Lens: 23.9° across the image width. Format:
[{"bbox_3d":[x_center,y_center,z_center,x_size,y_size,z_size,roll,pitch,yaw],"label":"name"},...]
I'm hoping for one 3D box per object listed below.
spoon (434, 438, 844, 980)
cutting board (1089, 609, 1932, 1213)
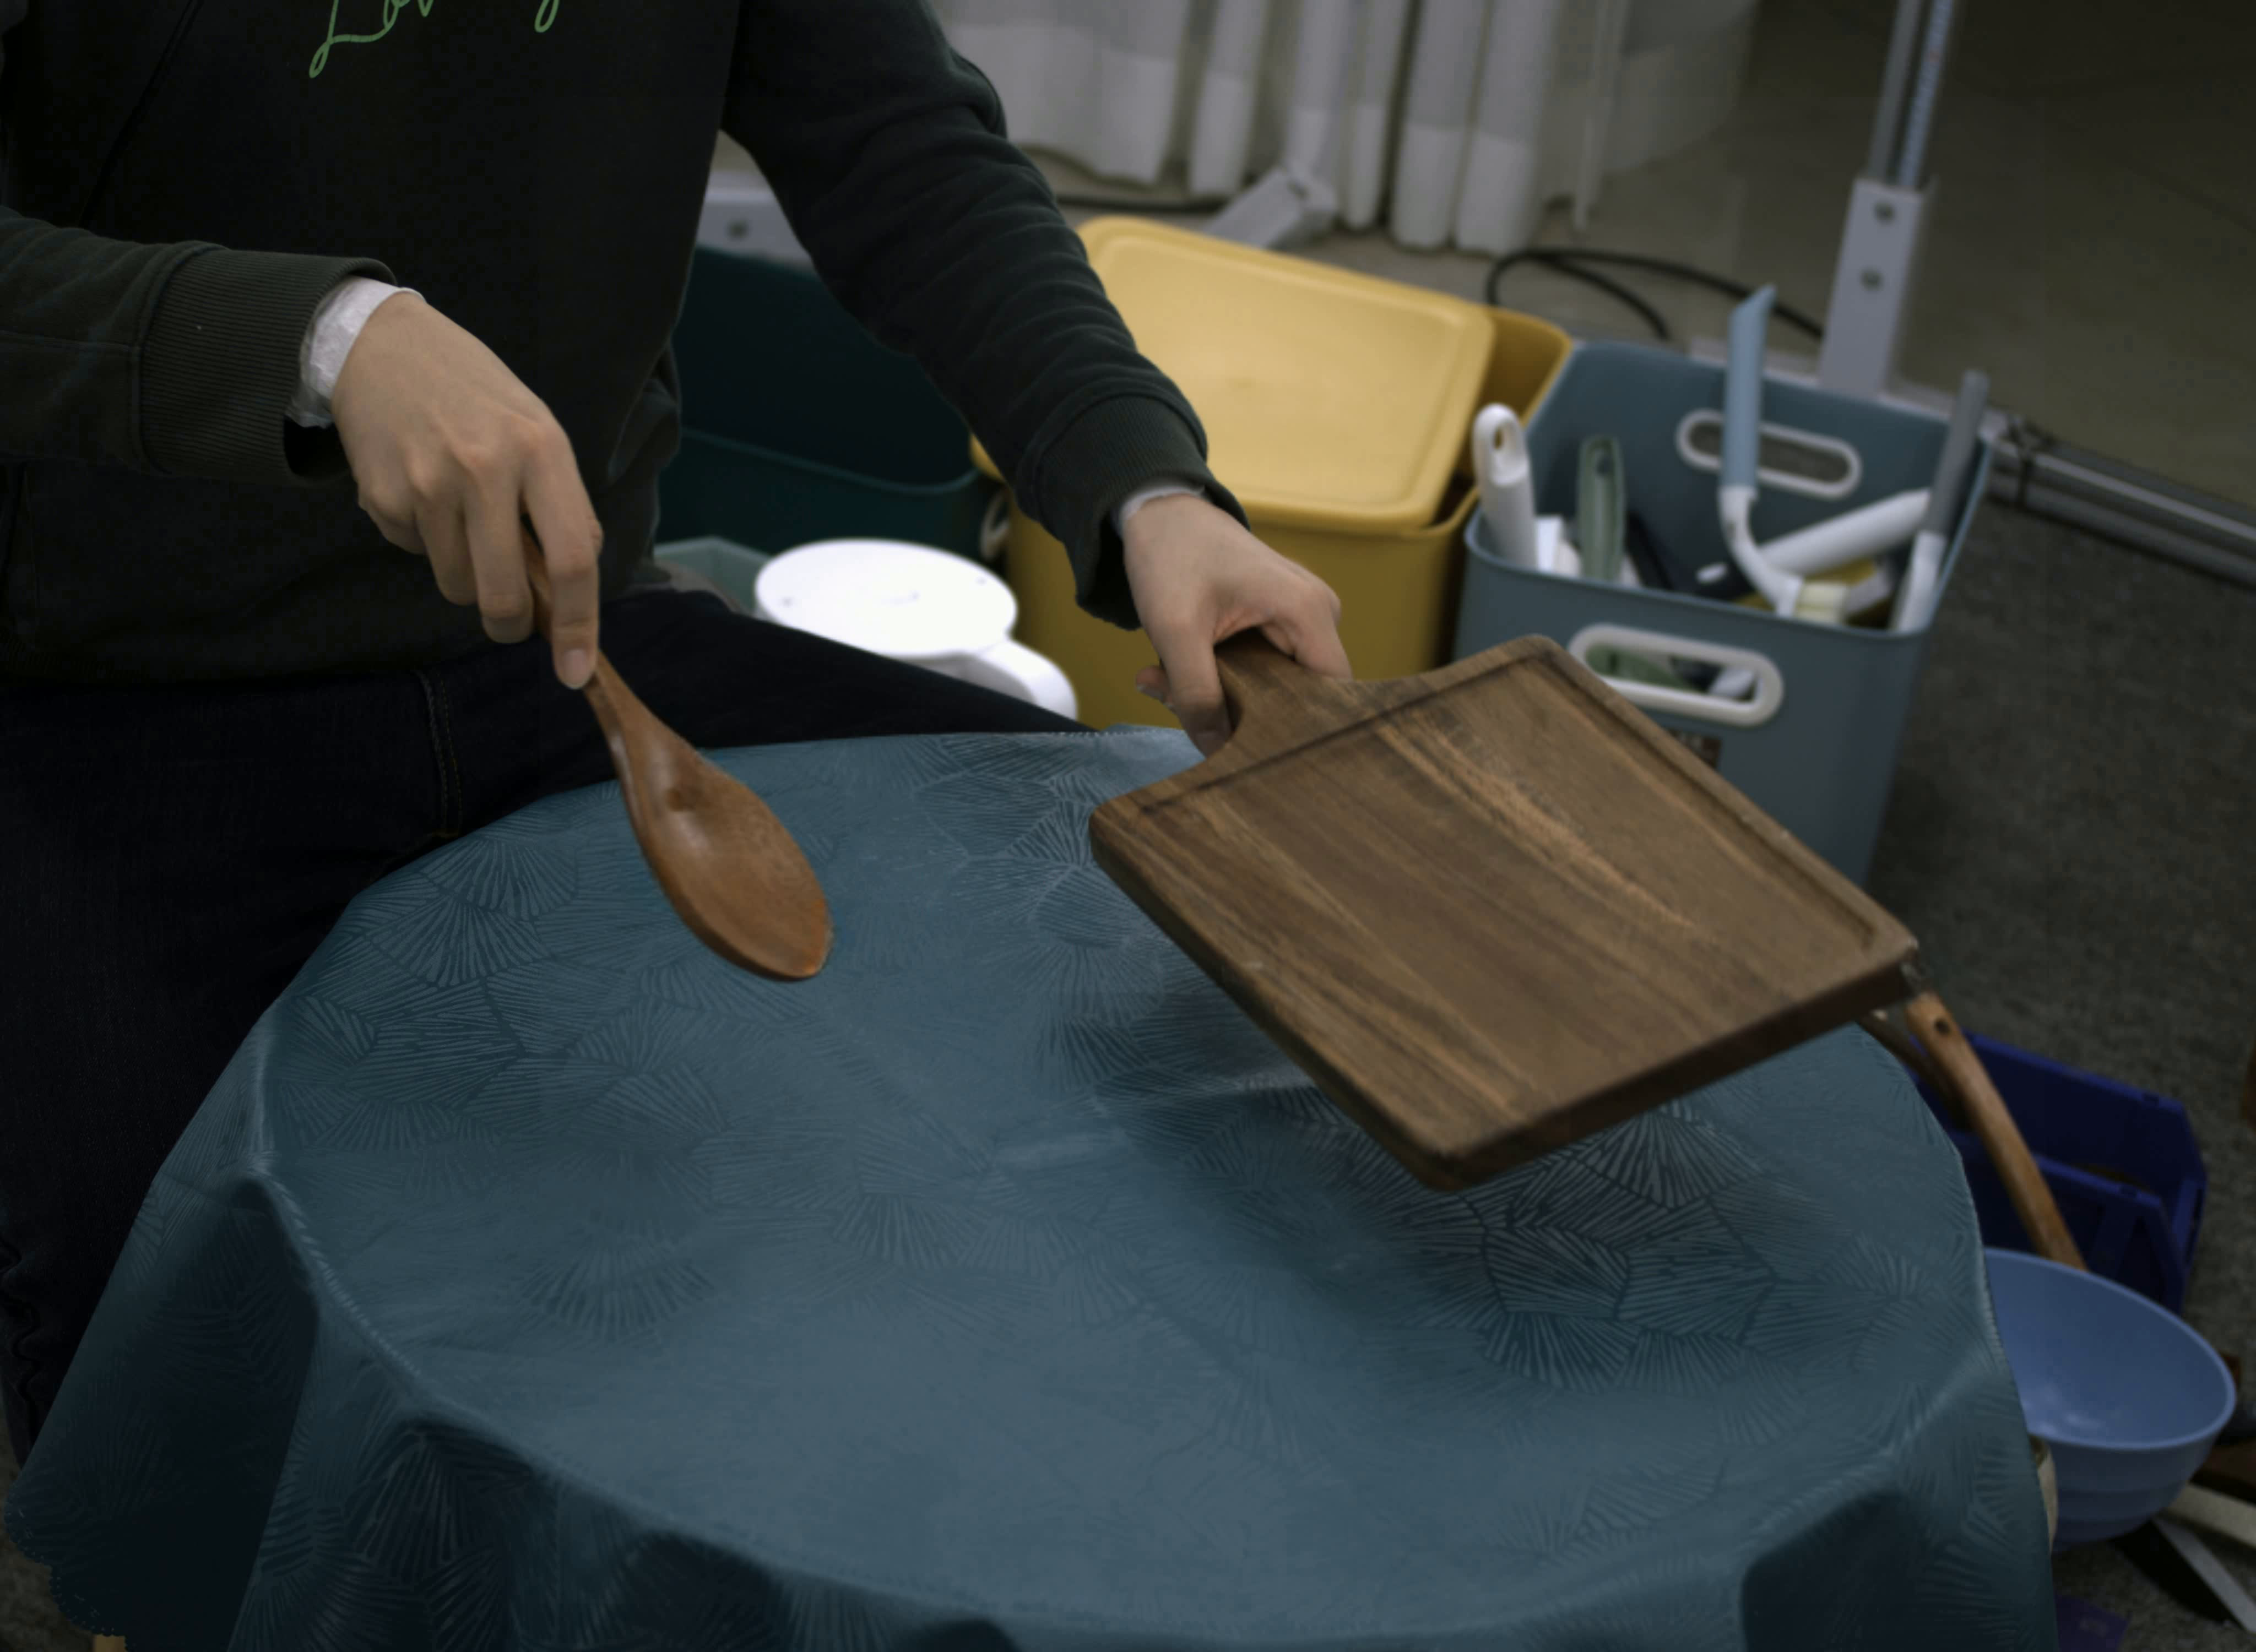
[{"bbox_3d":[-0.164,-0.037,1.744,0.216,0.017,0.075,56,32,9],"label":"spoon"},{"bbox_3d":[0.105,0.006,1.881,0.200,0.023,0.355,-23,36,-18],"label":"cutting board"}]
